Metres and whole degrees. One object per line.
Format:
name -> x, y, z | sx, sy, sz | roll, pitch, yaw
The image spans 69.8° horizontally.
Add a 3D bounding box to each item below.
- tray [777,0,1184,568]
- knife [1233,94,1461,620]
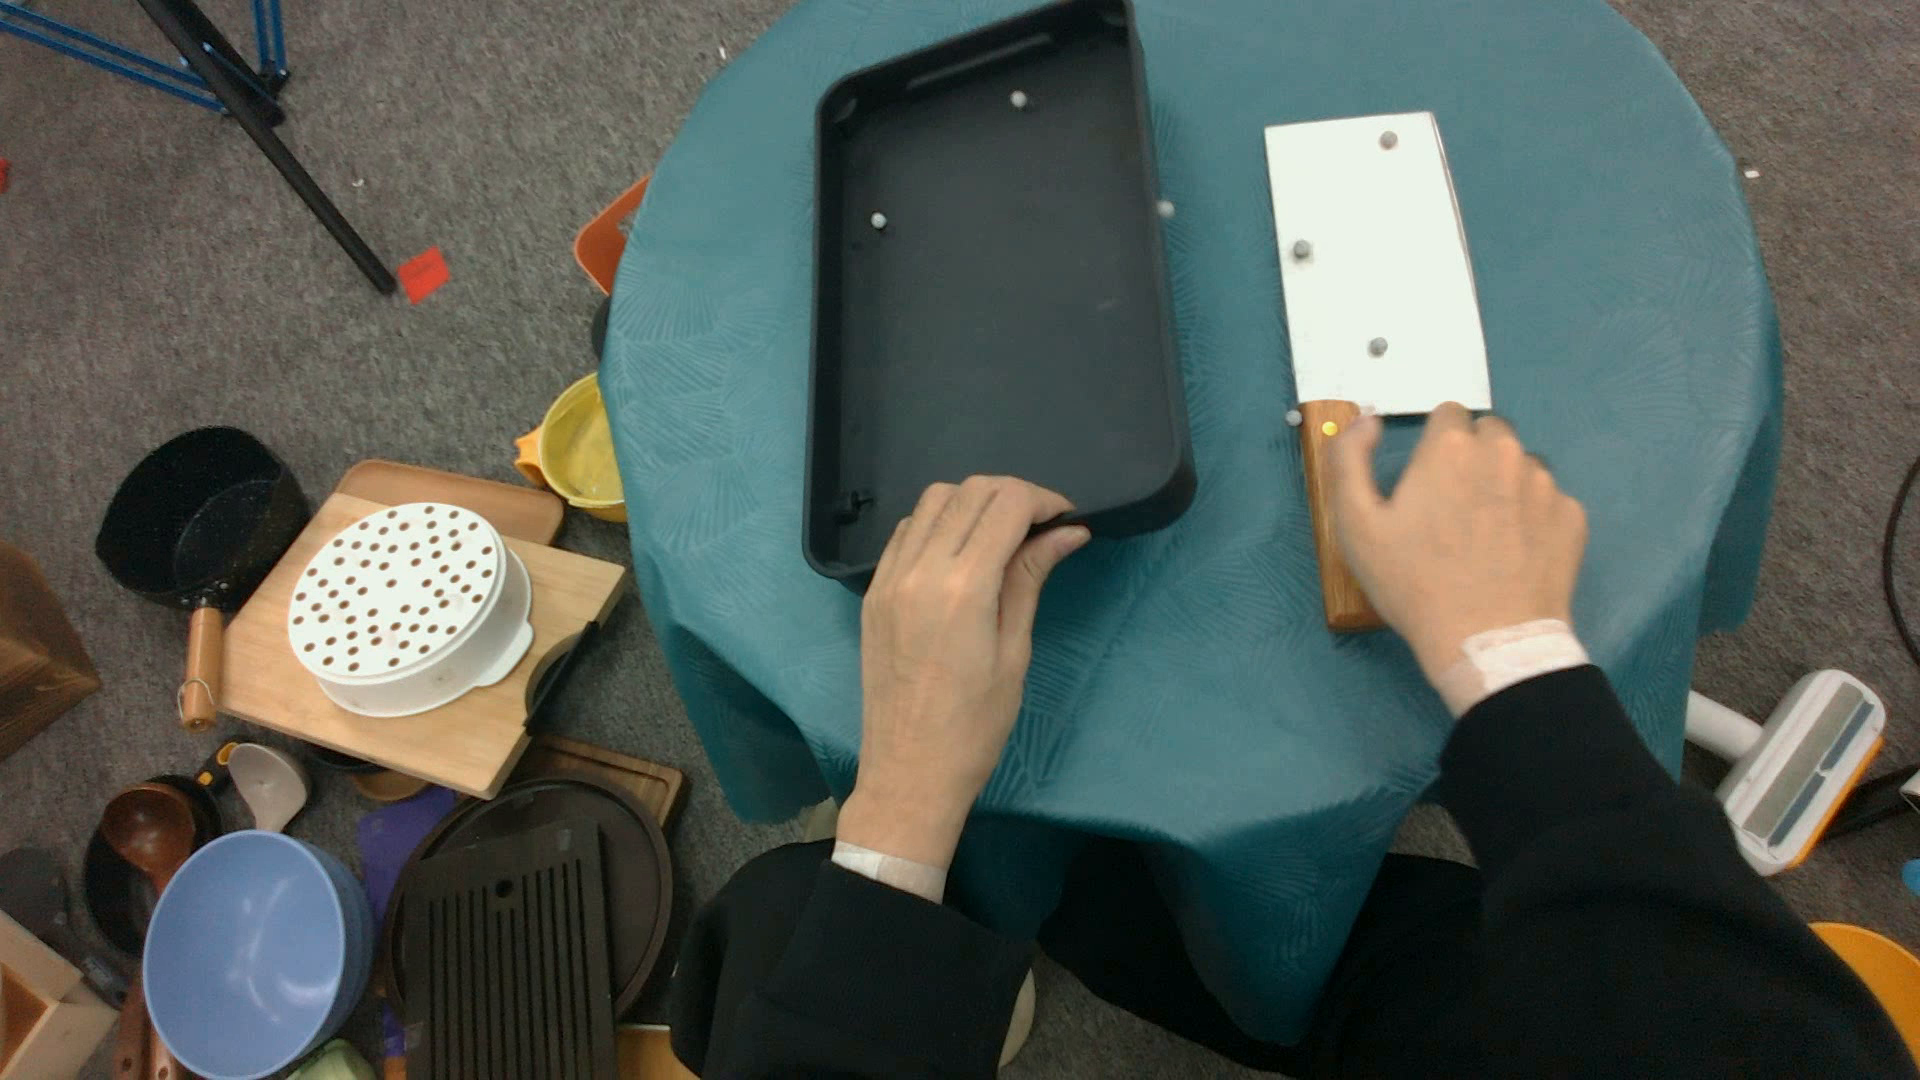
tray -> -0.001, -0.148, 0.683 | 0.184, 0.037, 0.319 | -16, 59, 18
knife -> 0.196, -0.104, 0.682 | 0.093, 0.021, 0.307 | -3, 63, 5
